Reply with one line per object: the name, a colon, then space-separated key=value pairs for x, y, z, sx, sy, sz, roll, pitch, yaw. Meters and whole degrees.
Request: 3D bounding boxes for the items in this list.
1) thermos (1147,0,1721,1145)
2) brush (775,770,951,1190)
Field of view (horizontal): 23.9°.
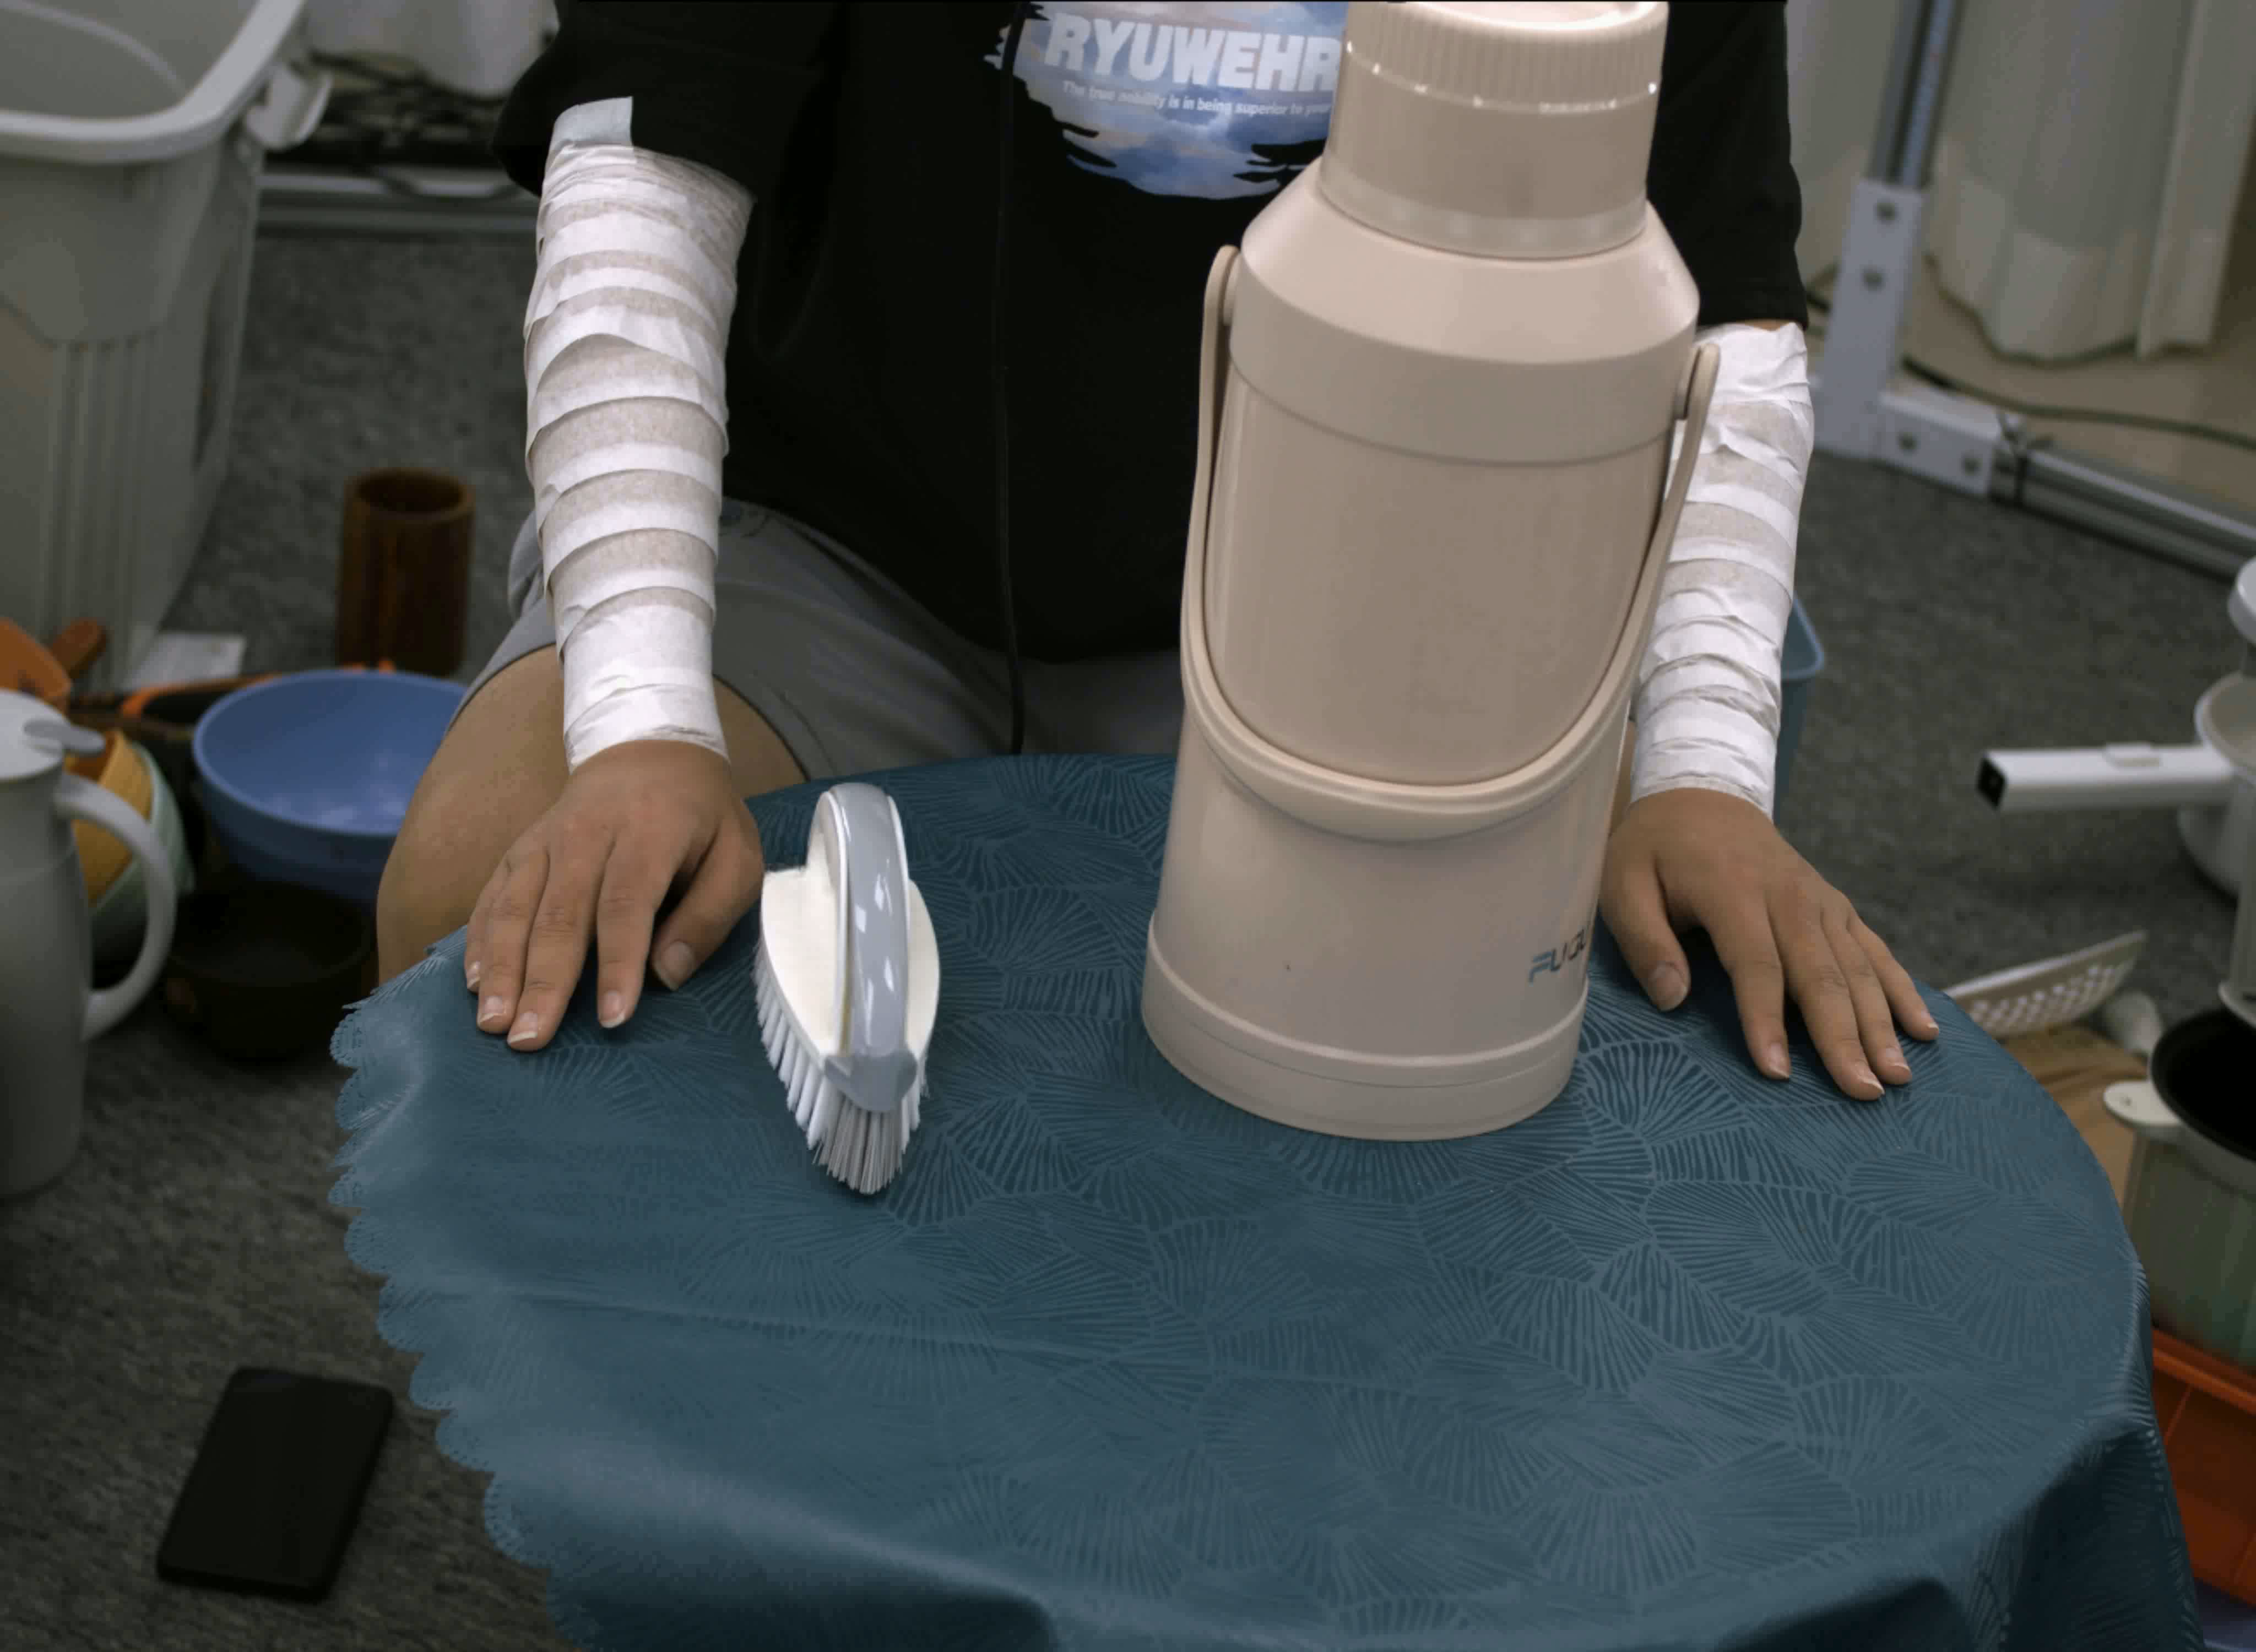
thermos: x=0.110 y=-0.106 z=1.845 sx=0.175 sy=0.405 sz=0.207 roll=11 pitch=26 yaw=11
brush: x=-0.090 y=0.045 z=1.838 sx=0.061 sy=0.094 sz=0.177 roll=-2 pitch=29 yaw=-6
